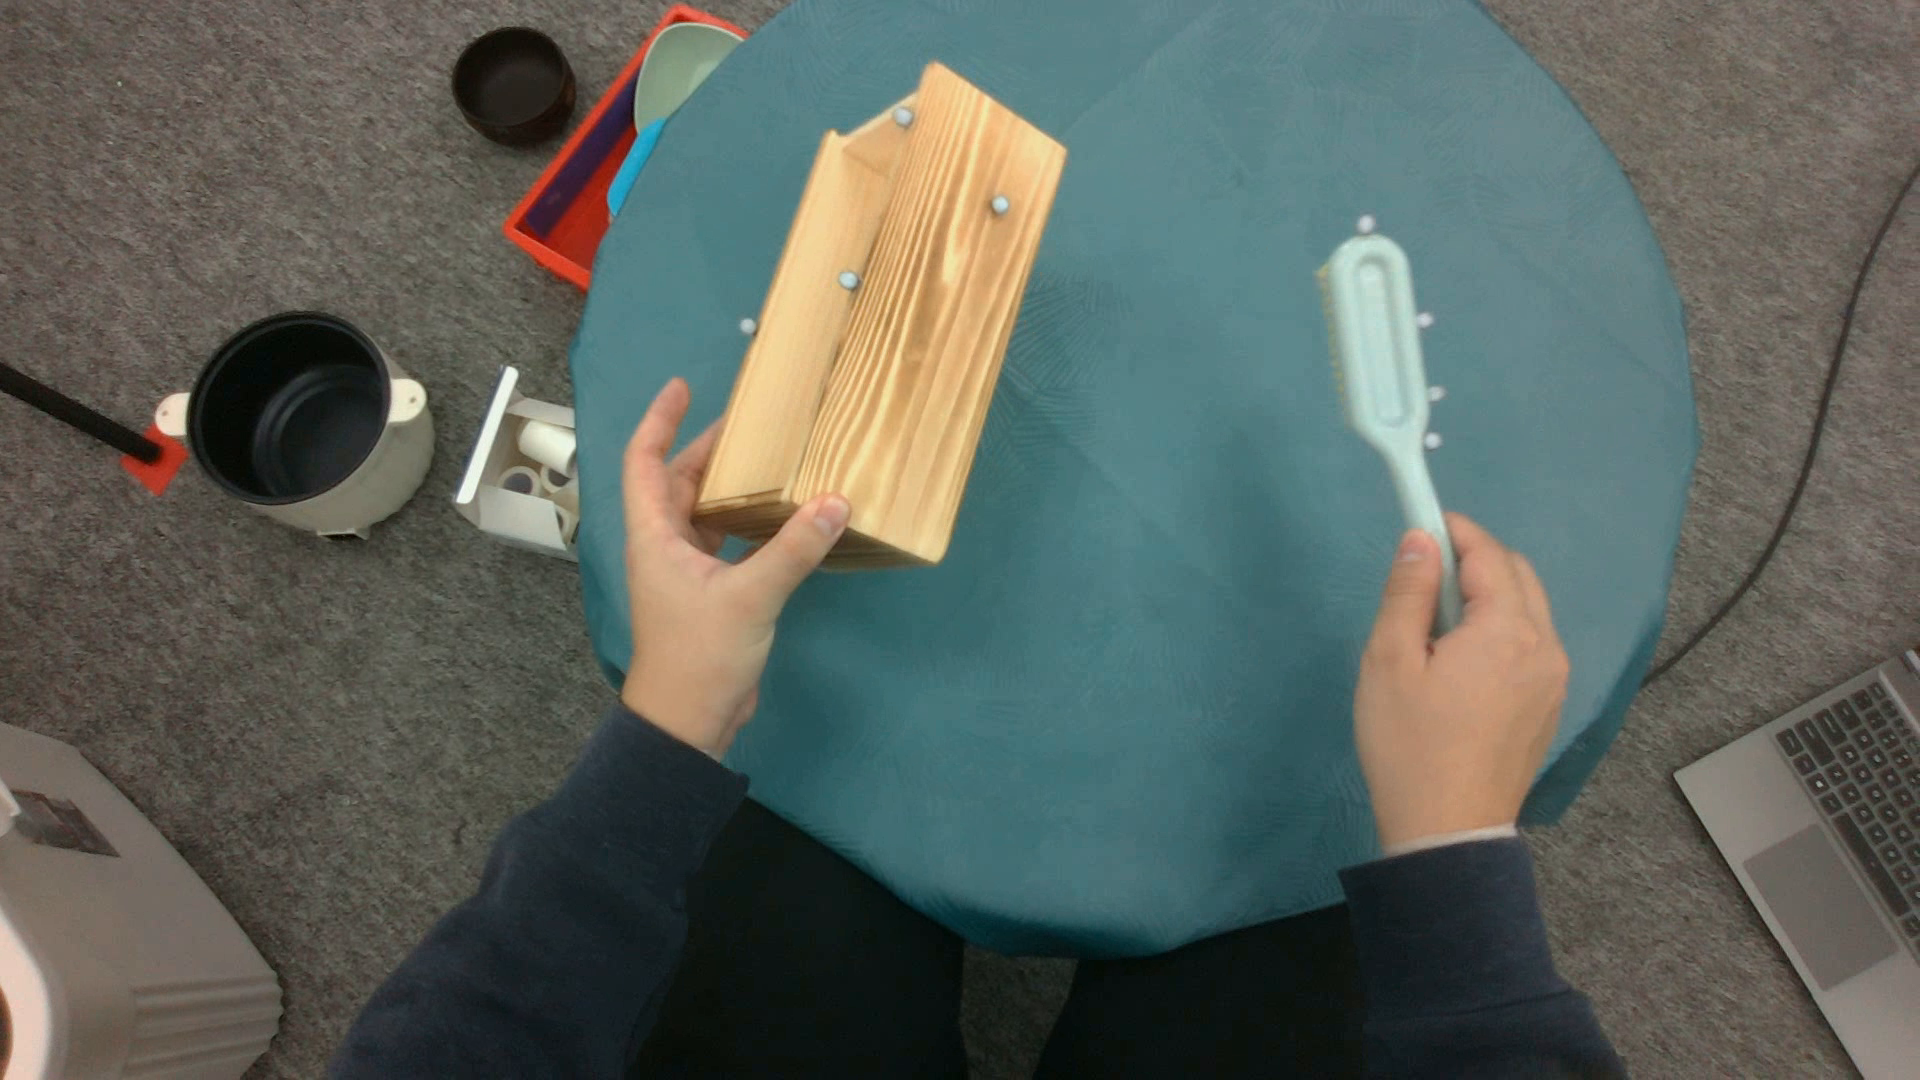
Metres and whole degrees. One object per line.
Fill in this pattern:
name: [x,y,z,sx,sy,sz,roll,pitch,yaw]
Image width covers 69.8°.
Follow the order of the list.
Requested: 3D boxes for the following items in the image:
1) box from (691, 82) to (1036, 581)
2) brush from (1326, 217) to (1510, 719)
box: [-0.046,-0.094,0.663,0.080,0.107,0.212,22,73,-32]
brush: [0.209,-0.032,0.624,0.038,0.049,0.229,-14,84,-3]
